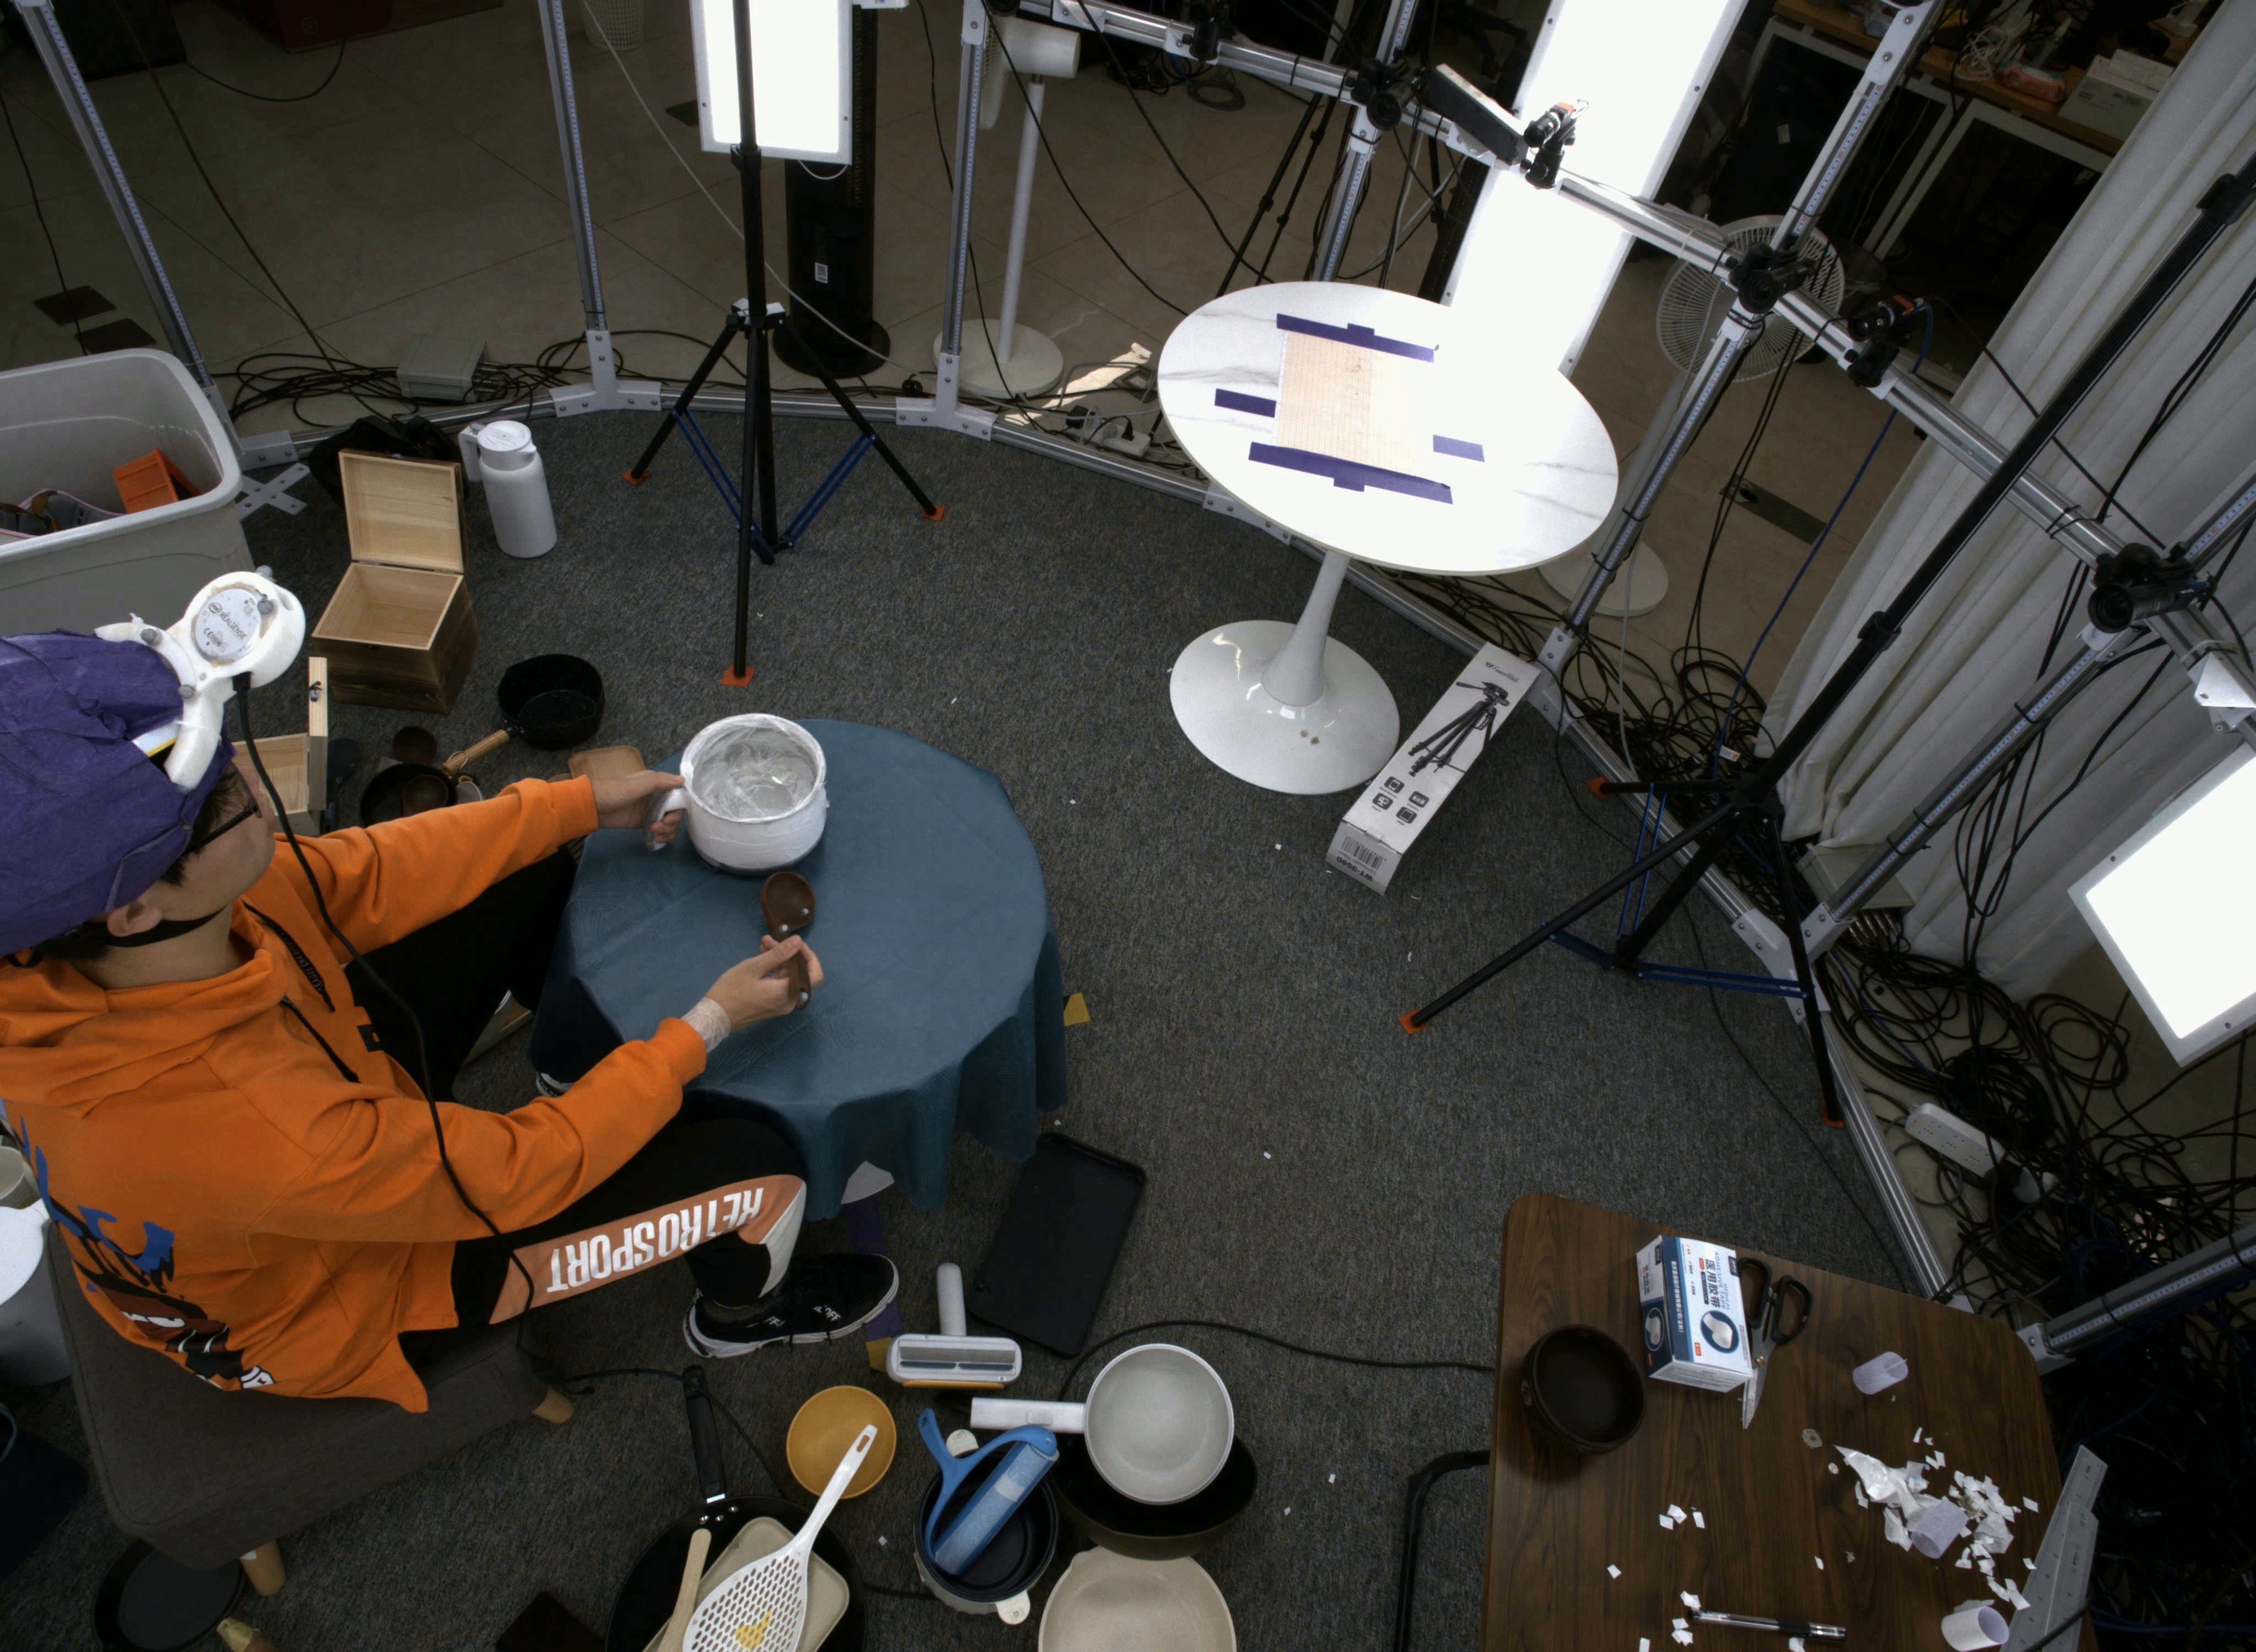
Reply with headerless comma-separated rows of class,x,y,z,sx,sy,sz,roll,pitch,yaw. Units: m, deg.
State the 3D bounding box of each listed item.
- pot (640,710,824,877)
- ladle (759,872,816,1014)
pot,-0.500,-0.031,1.628,0.235,0.139,0.174,-14,57,-24
ladle,-0.390,0.130,1.524,0.079,0.065,0.251,34,7,-31
